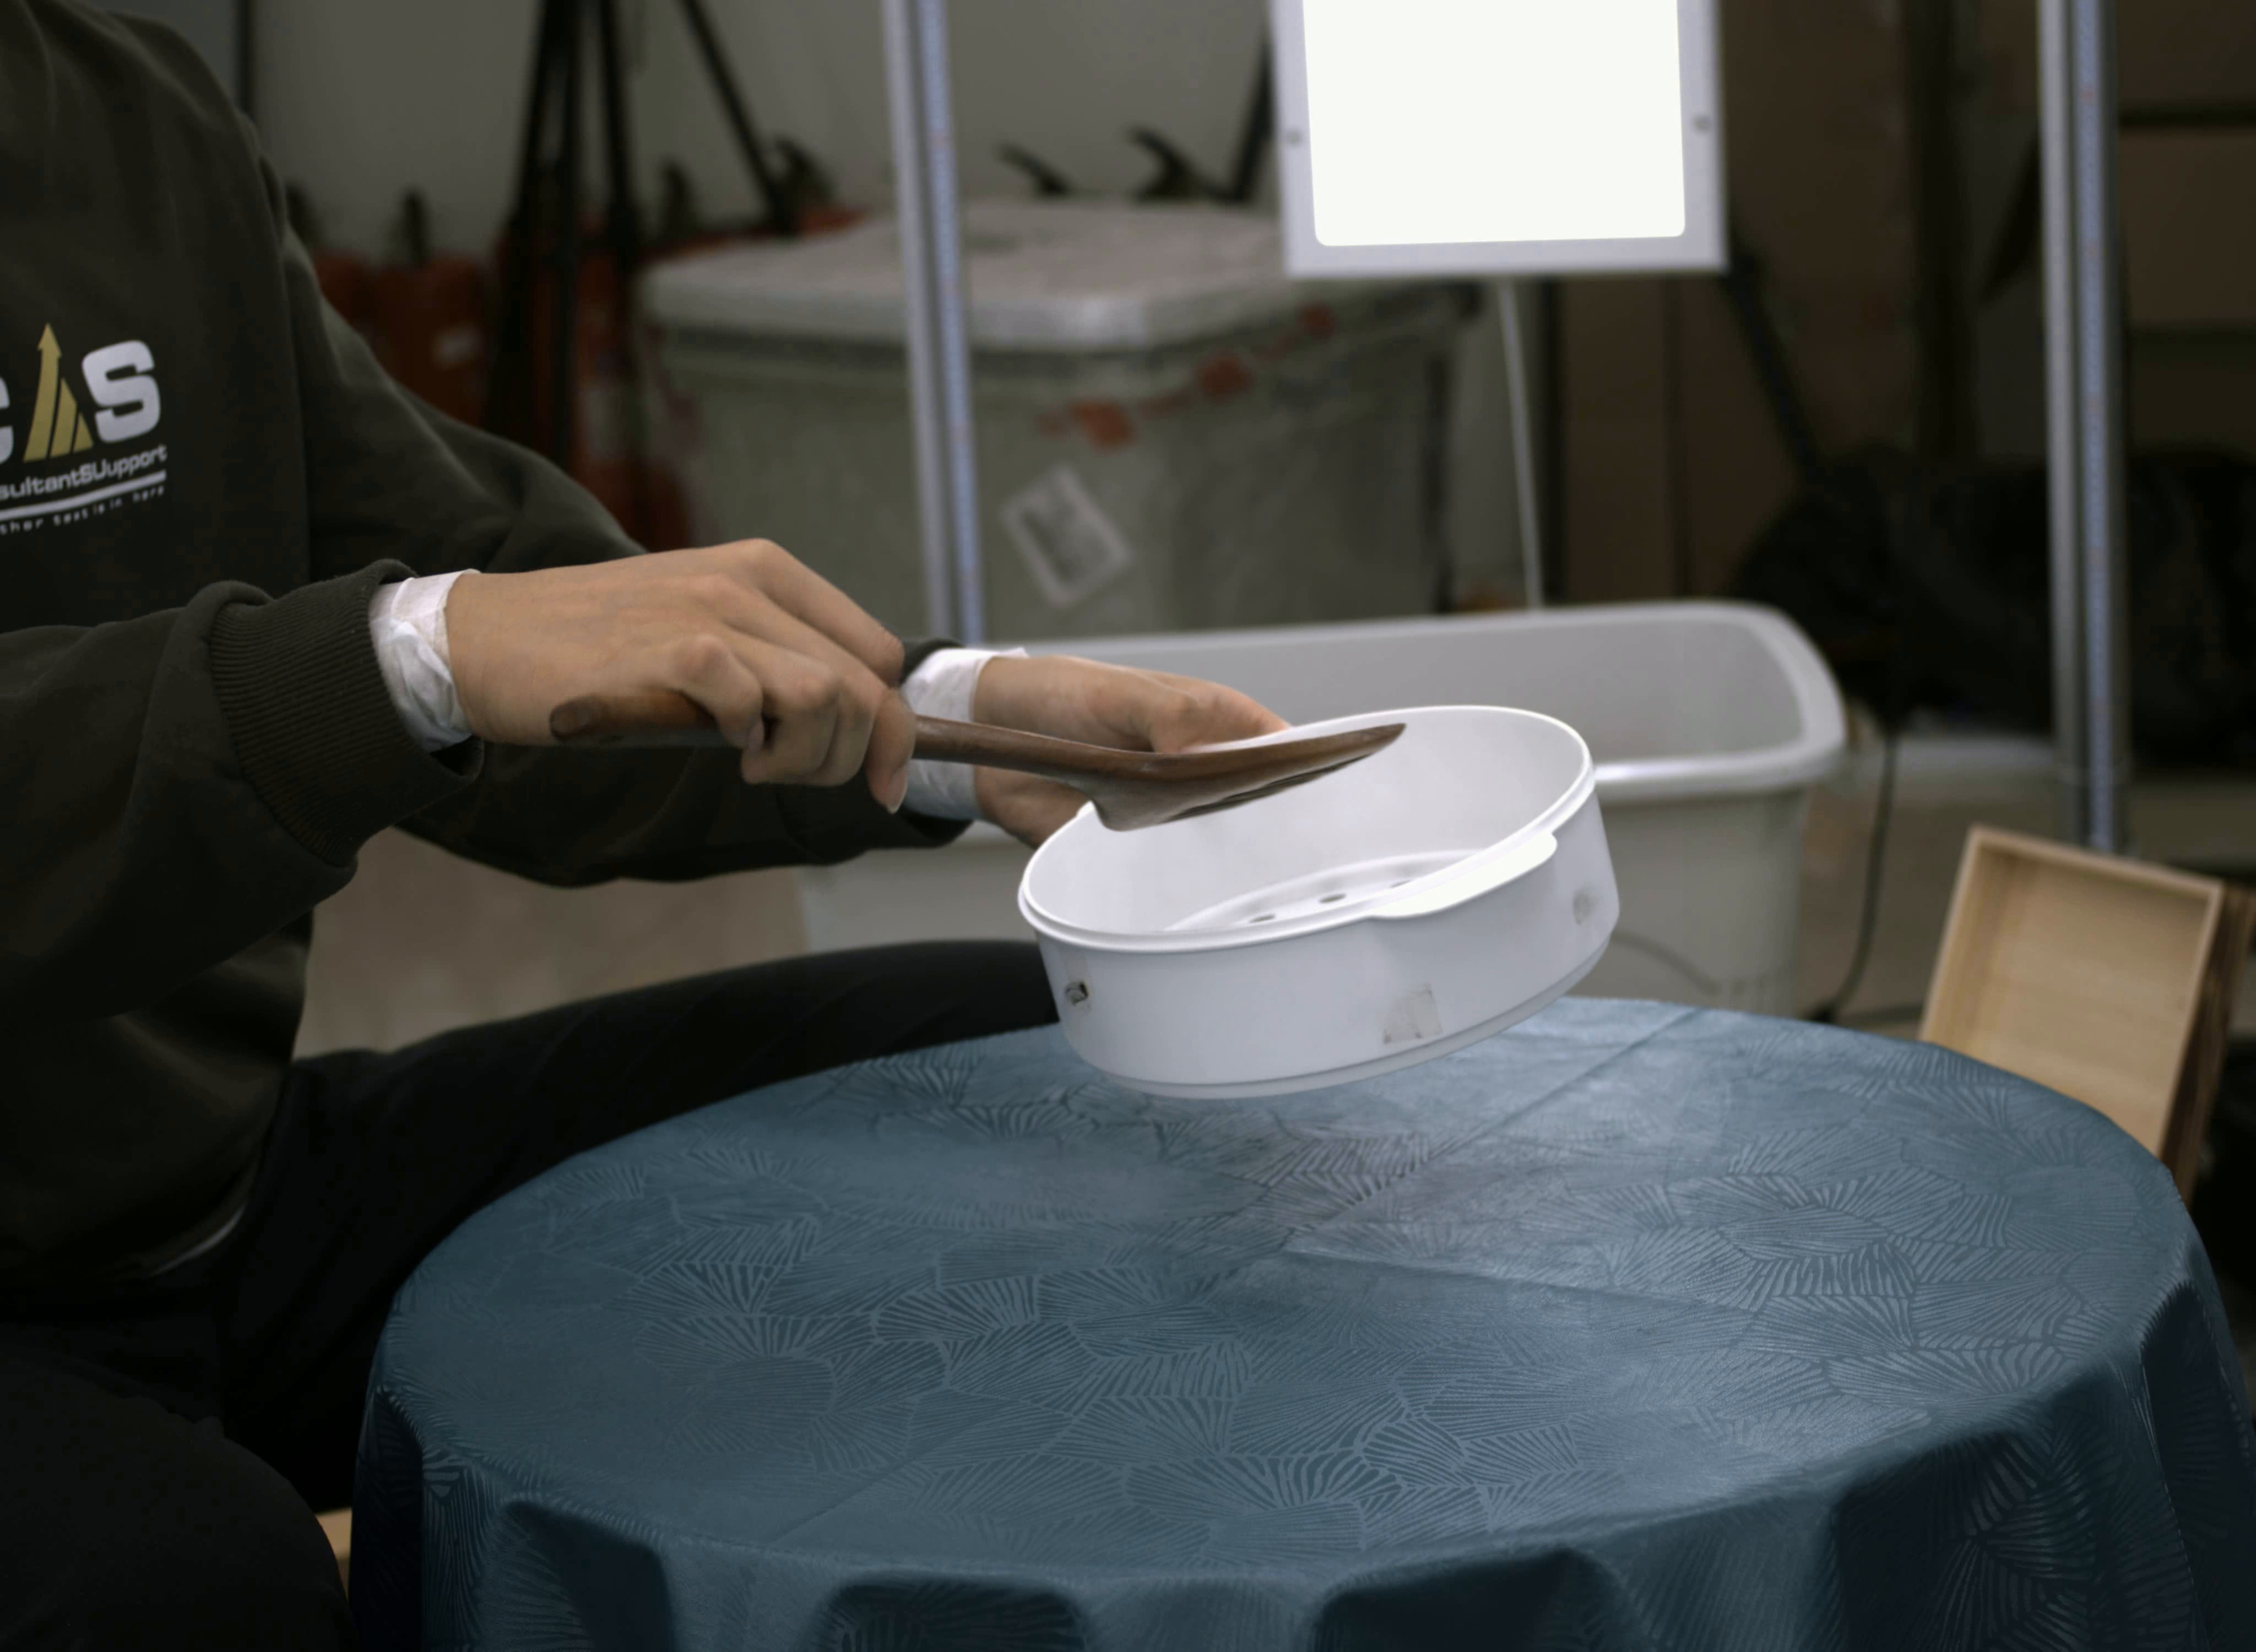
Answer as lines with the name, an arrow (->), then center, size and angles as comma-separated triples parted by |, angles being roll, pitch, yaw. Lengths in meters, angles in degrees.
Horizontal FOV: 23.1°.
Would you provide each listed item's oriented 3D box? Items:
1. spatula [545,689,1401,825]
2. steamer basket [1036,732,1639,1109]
spatula -> -0.045, -0.022, 1.691 | 0.087, 0.024, 0.376 | -19, -14, 34
steamer basket -> 0.073, 0.032, 1.850 | 0.198, 0.069, 0.235 | -22, 16, -24
